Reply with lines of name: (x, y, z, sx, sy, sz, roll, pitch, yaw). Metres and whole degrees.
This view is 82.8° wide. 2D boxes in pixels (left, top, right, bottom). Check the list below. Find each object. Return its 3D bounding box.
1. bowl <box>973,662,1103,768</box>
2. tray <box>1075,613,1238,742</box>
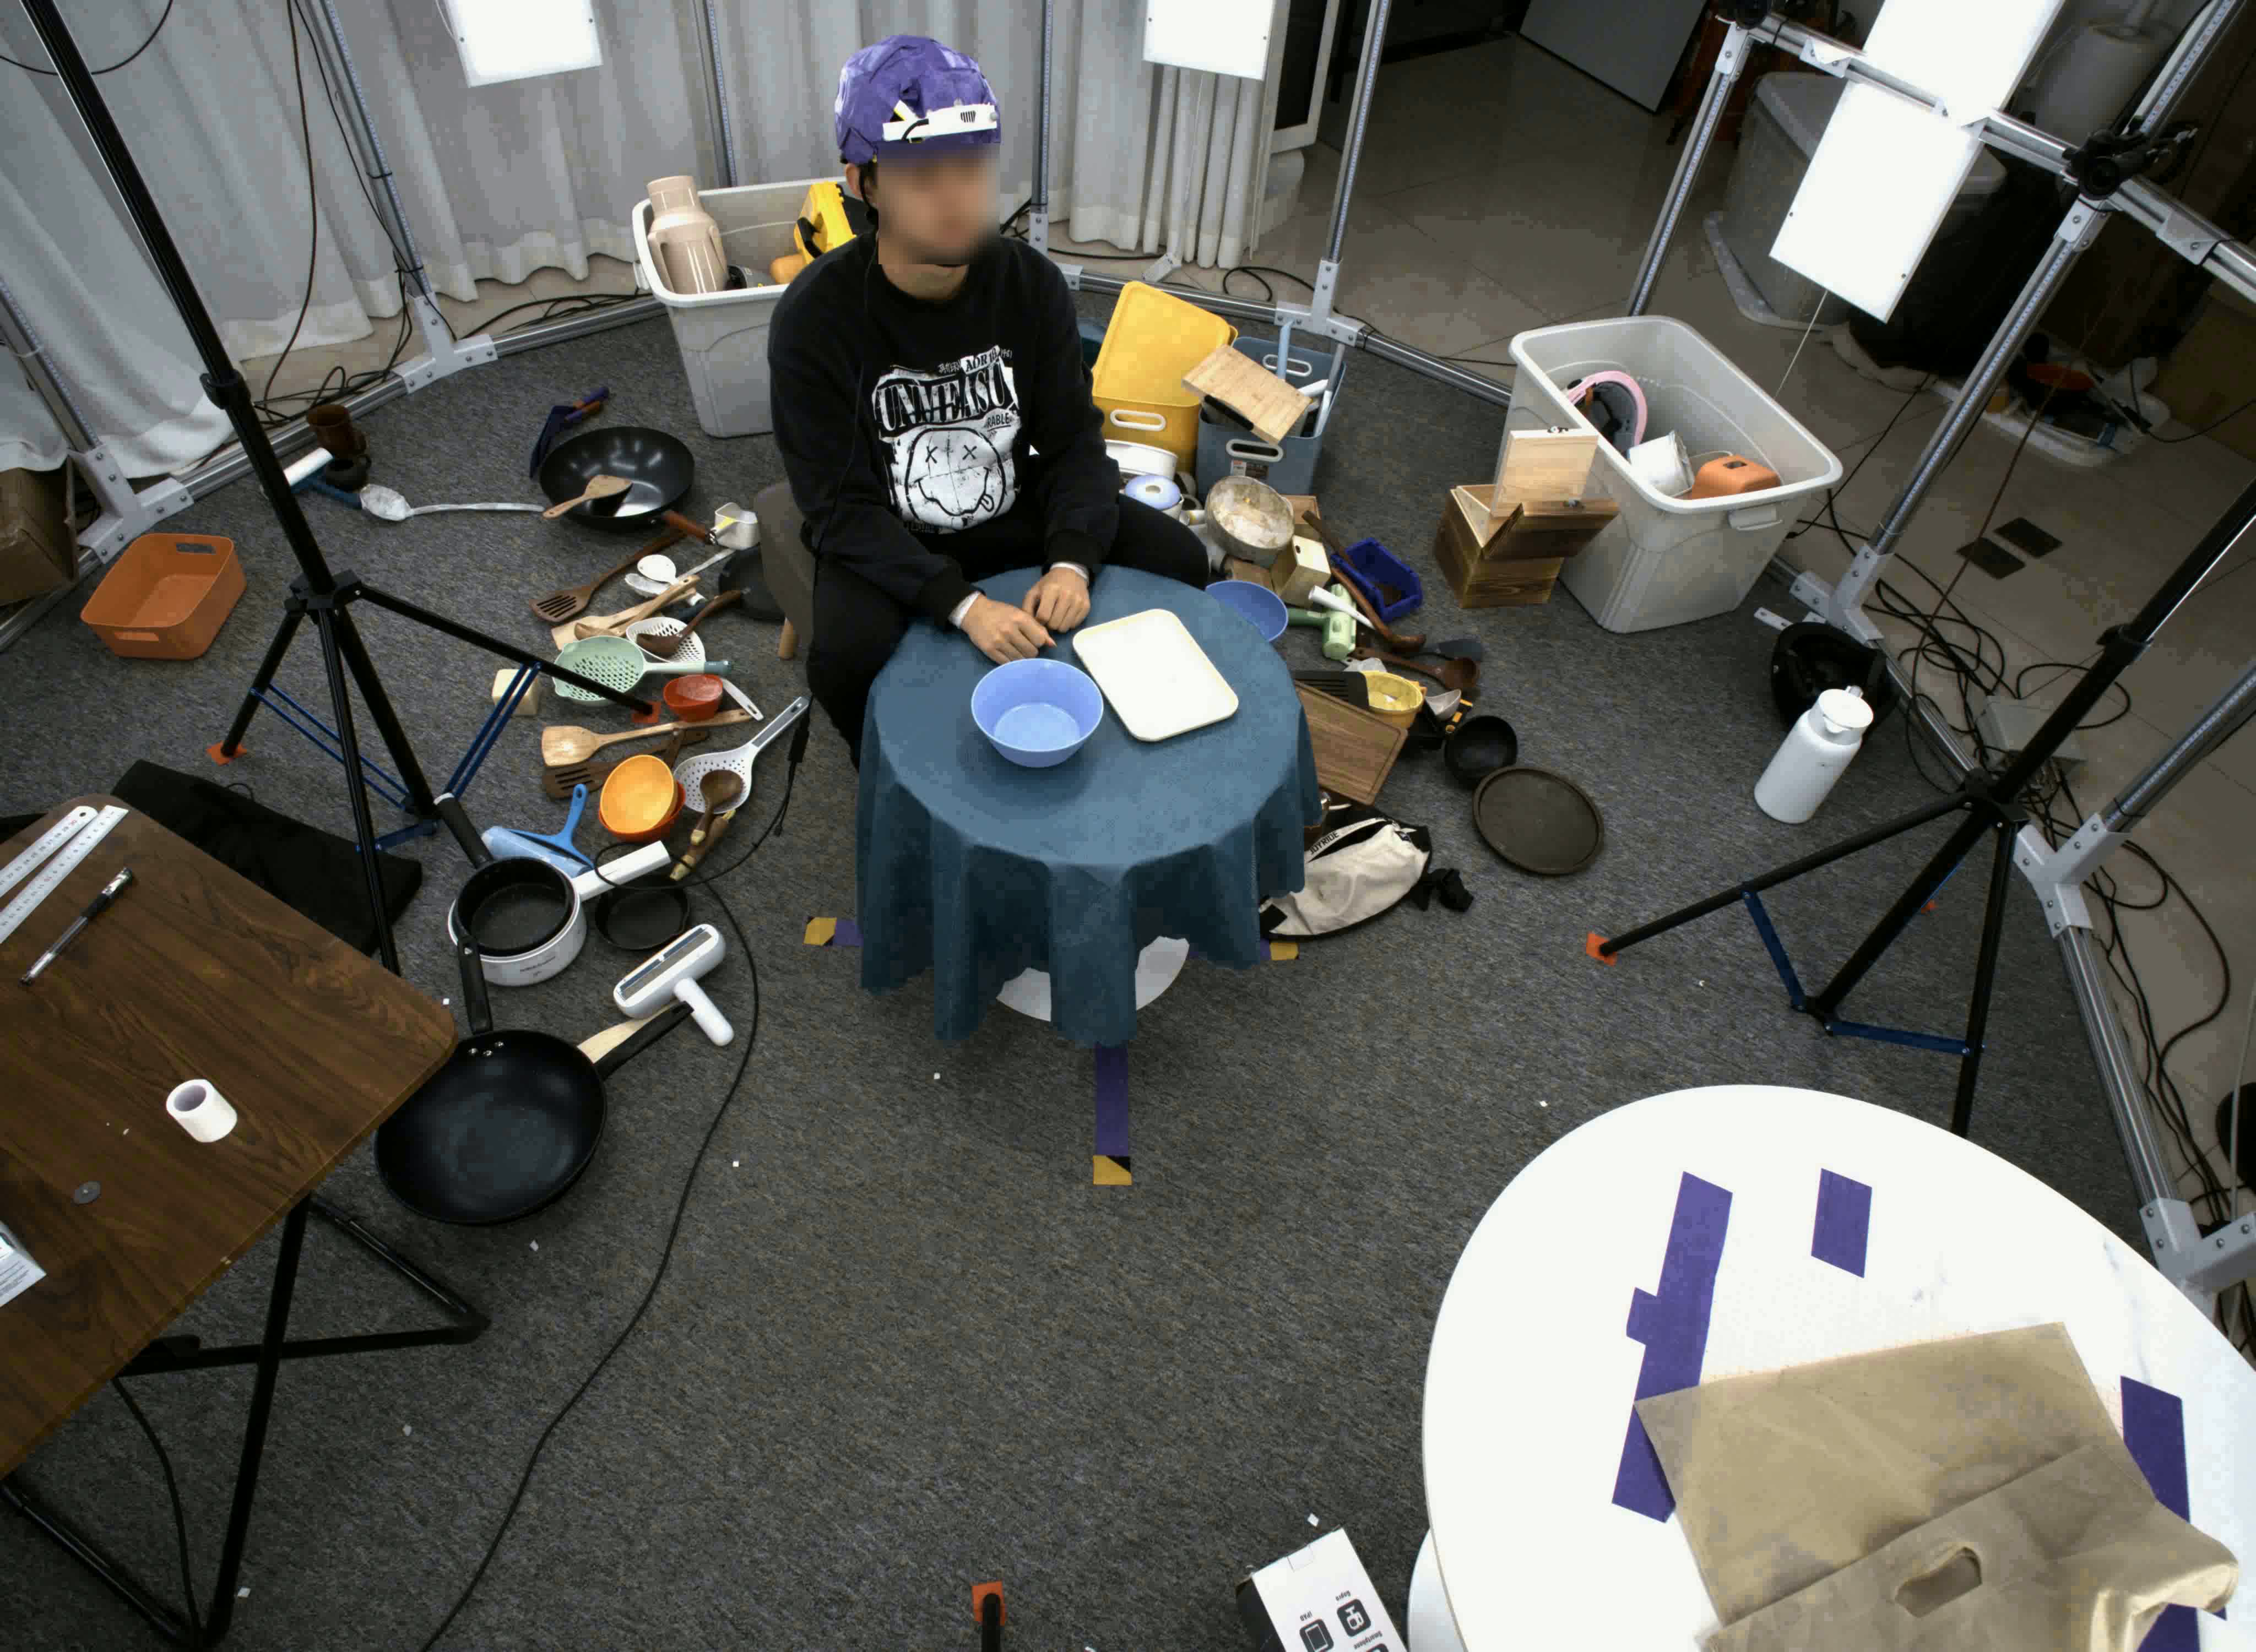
bowl: (-0.124, -0.142, 1.754, 0.176, 0.068, 0.180, 2, 48, -3)
tray: (0.039, -0.217, 1.865, 0.171, 0.017, 0.245, -18, 52, -19)
